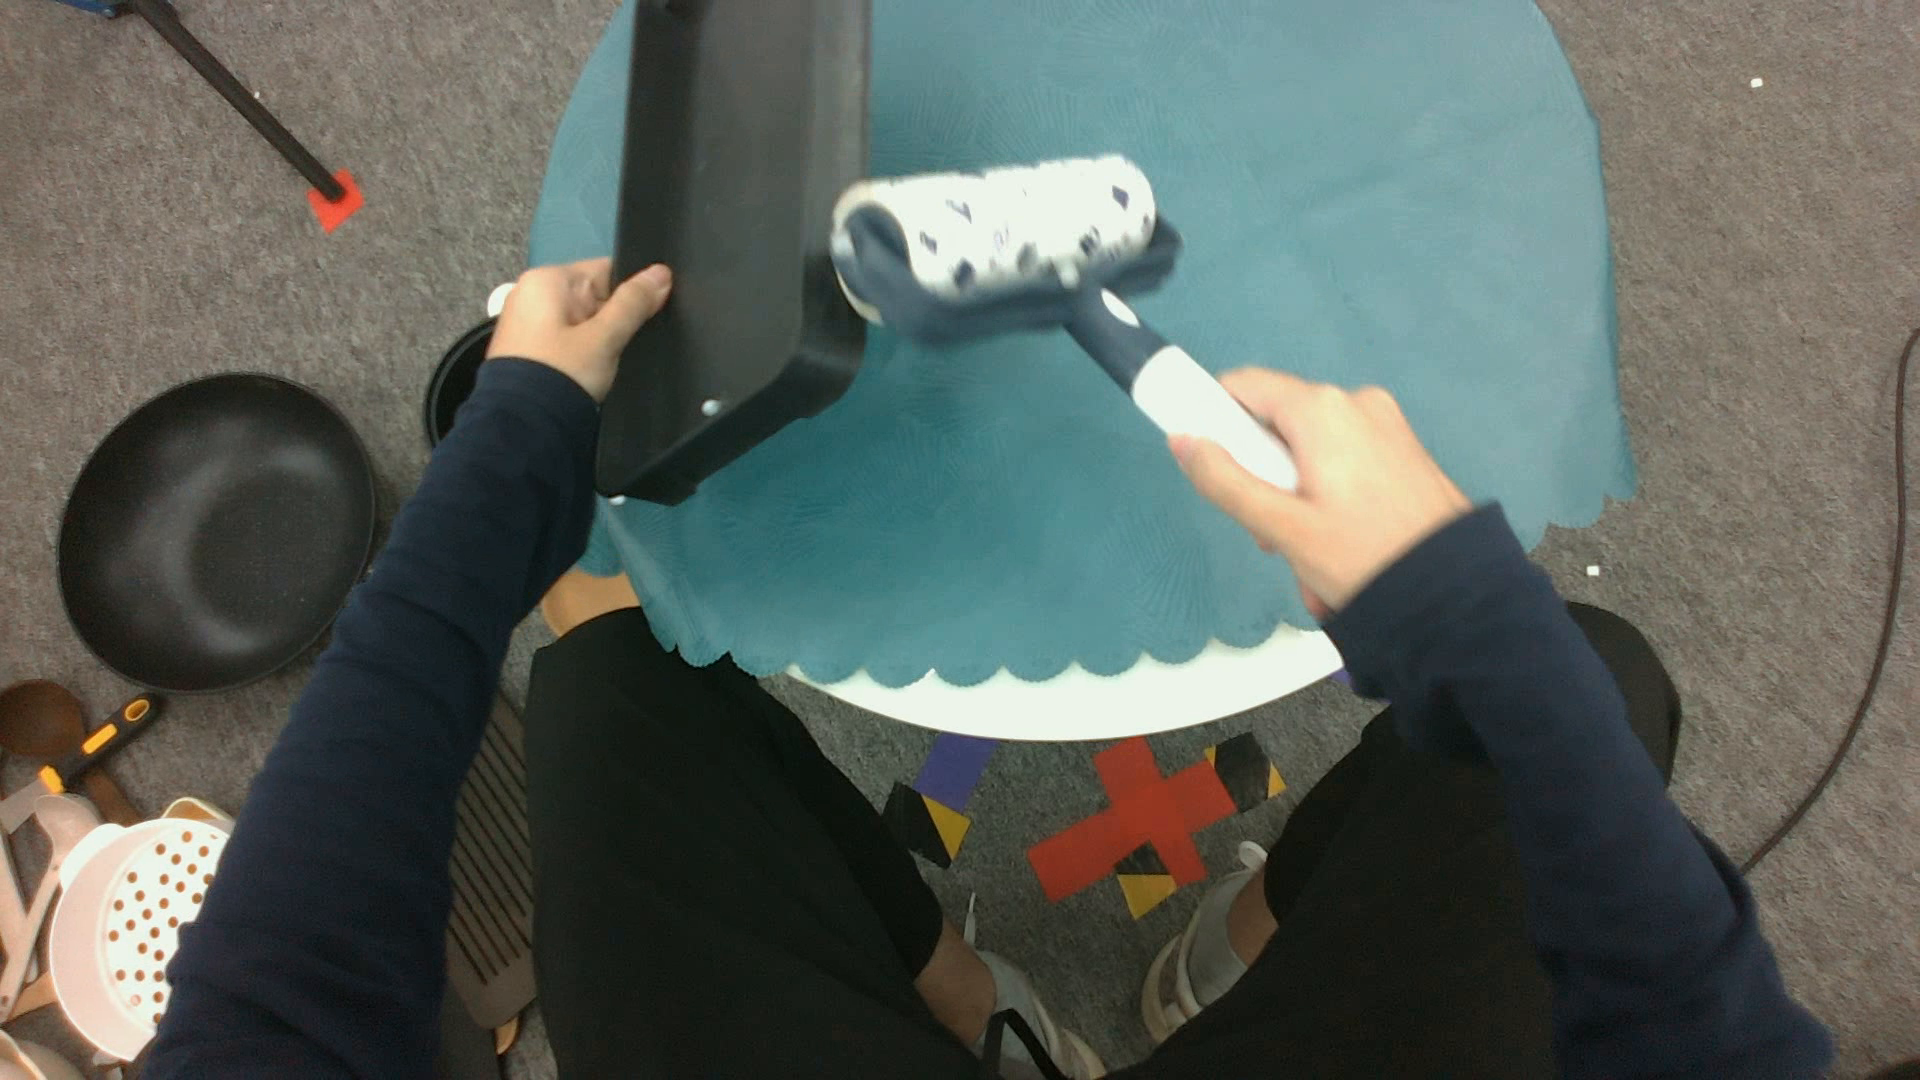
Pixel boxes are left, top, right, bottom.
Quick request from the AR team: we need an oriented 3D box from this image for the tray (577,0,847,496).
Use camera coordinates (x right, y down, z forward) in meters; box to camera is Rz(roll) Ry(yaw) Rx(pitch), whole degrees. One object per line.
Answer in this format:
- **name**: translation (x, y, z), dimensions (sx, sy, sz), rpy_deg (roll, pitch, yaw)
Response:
- **tray**: translation (-0.120, -0.190, 0.654), dimensions (0.037, 0.183, 0.319), rpy_deg (13, 64, -37)

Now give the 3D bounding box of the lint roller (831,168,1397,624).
- **lint roller**: translation (0.084, -0.064, 0.556), dimensions (0.247, 0.050, 0.177), rpy_deg (45, 41, 20)
